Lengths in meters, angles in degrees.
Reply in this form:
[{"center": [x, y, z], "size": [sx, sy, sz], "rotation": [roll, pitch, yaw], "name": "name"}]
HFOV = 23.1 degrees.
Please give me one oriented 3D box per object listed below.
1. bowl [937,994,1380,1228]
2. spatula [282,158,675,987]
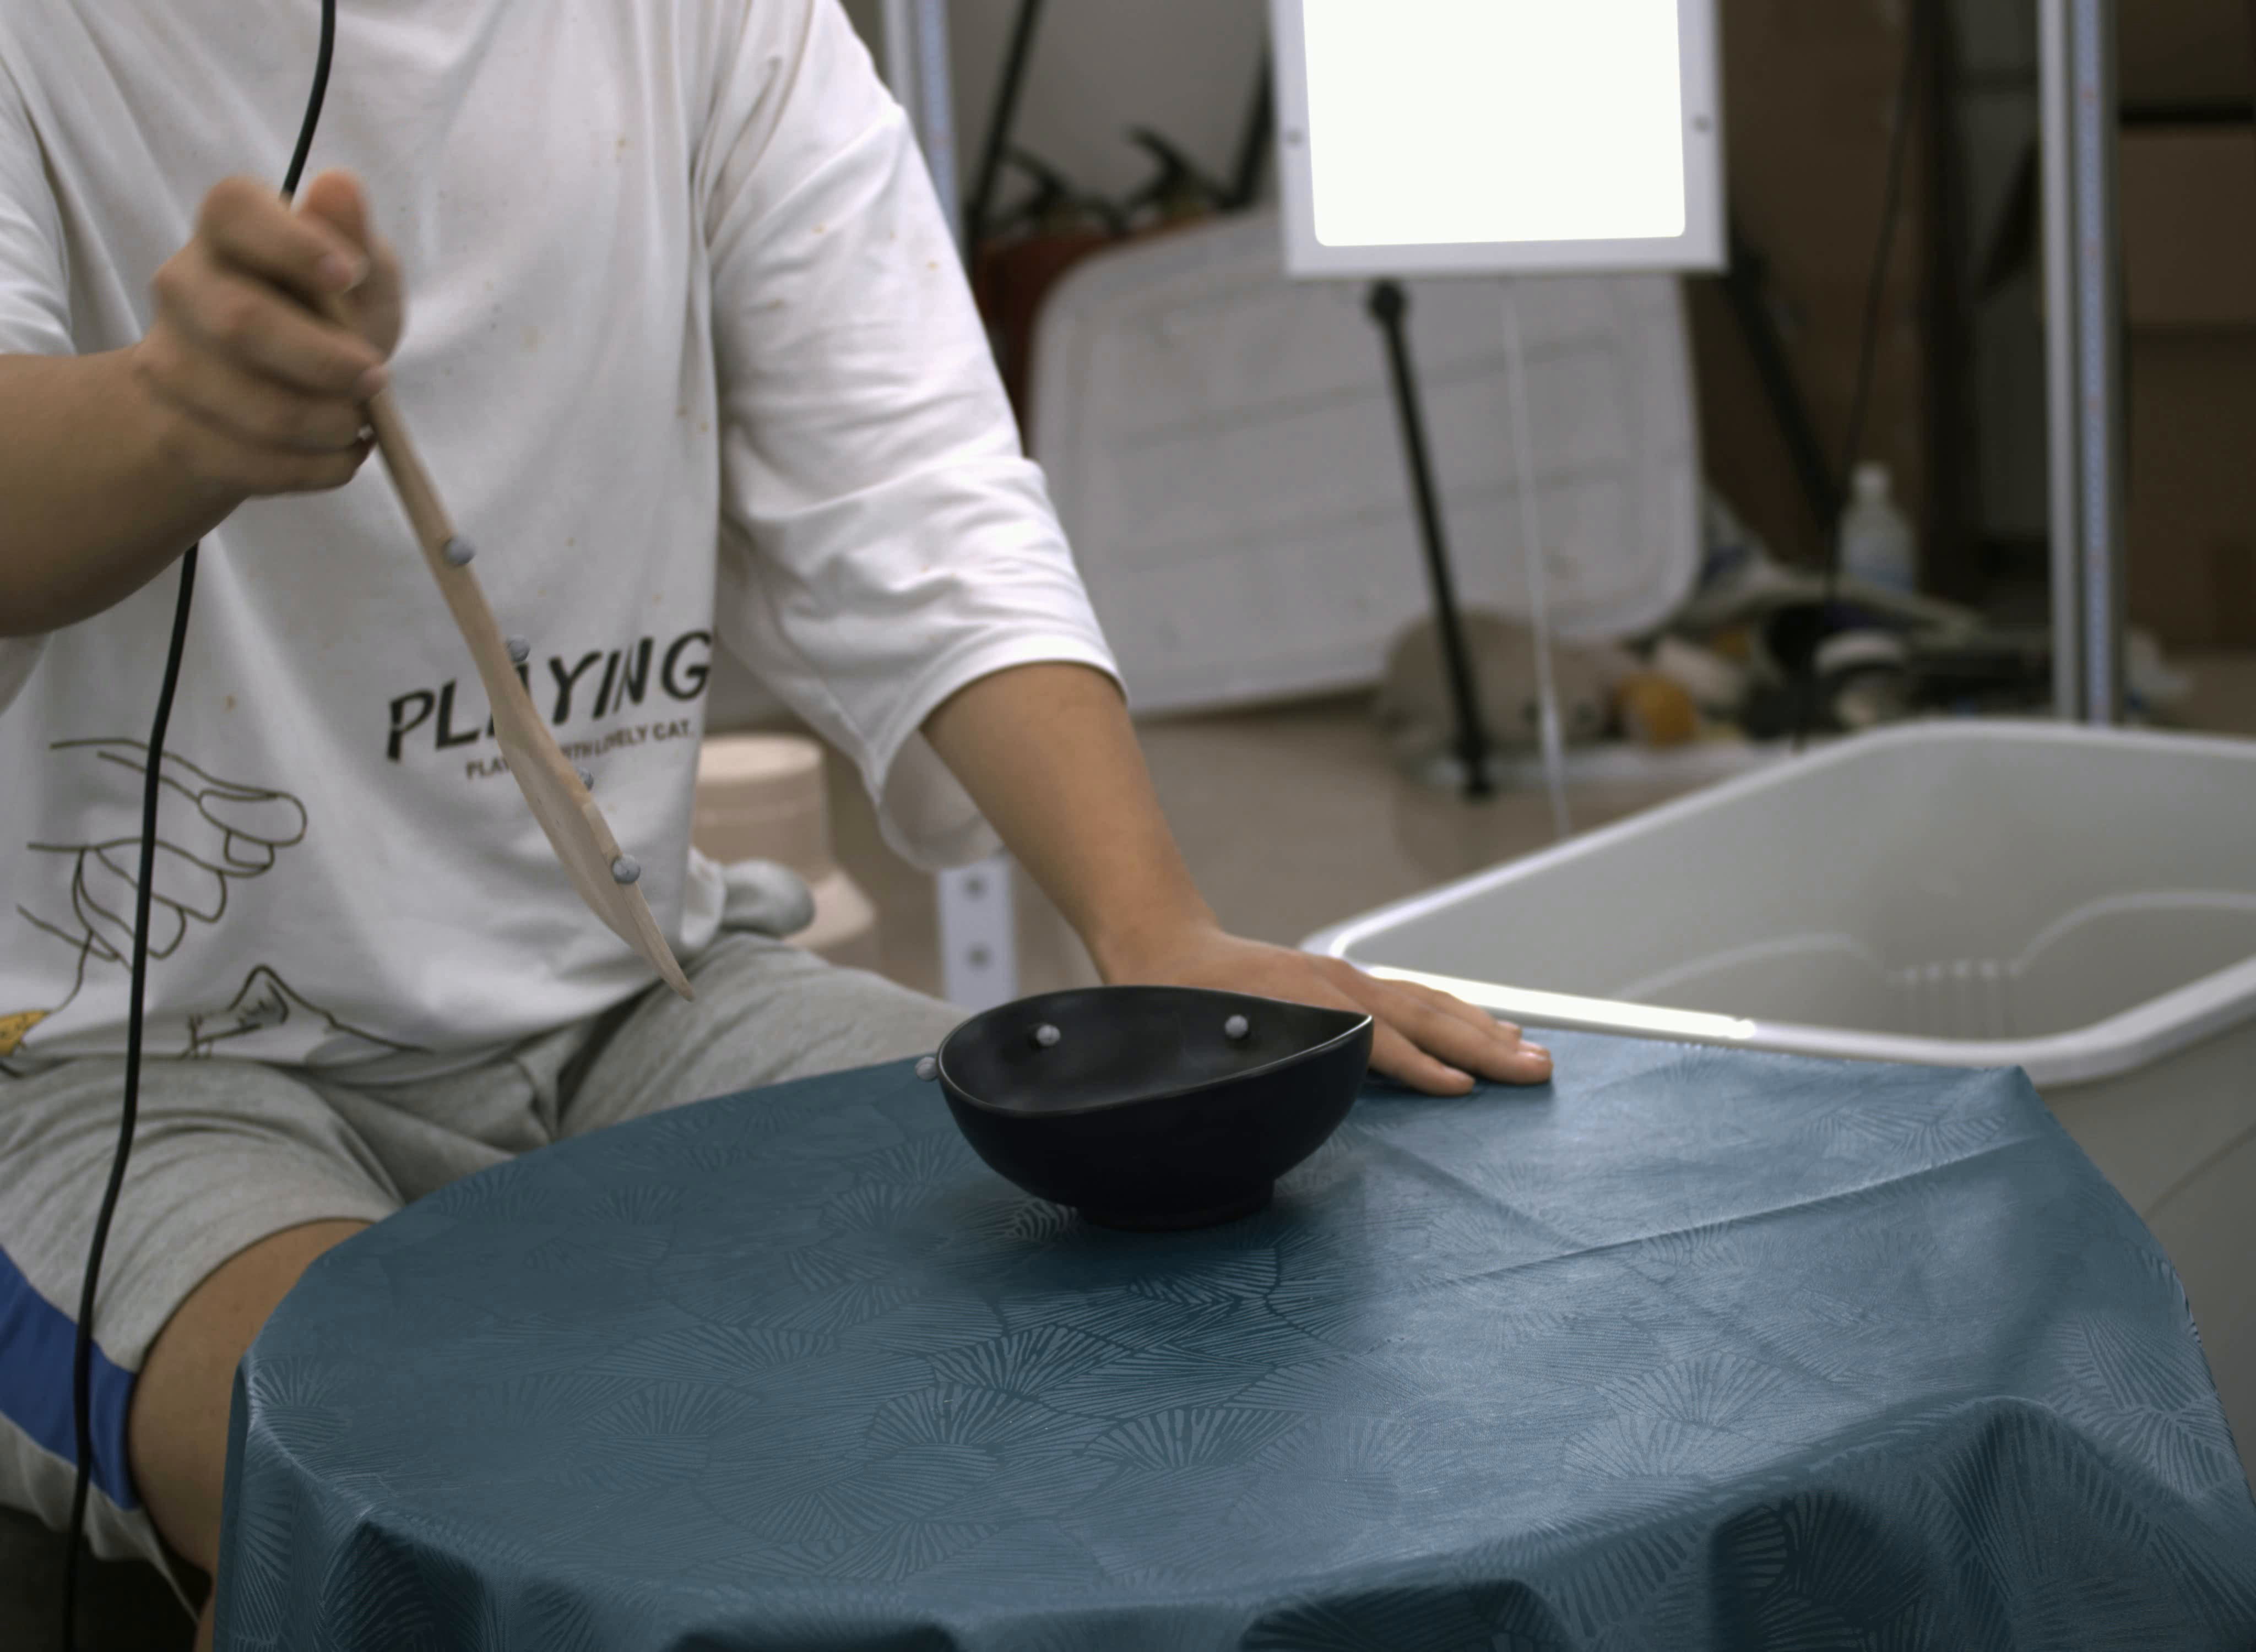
[{"center": [0.013, 0.098, 1.877], "size": [0.140, 0.067, 0.166], "rotation": [6, 15, 40], "name": "bowl"}, {"center": [-0.198, -0.074, 1.665], "size": [0.010, 0.292, 0.073], "rotation": [-30, 35, -17], "name": "spatula"}]
